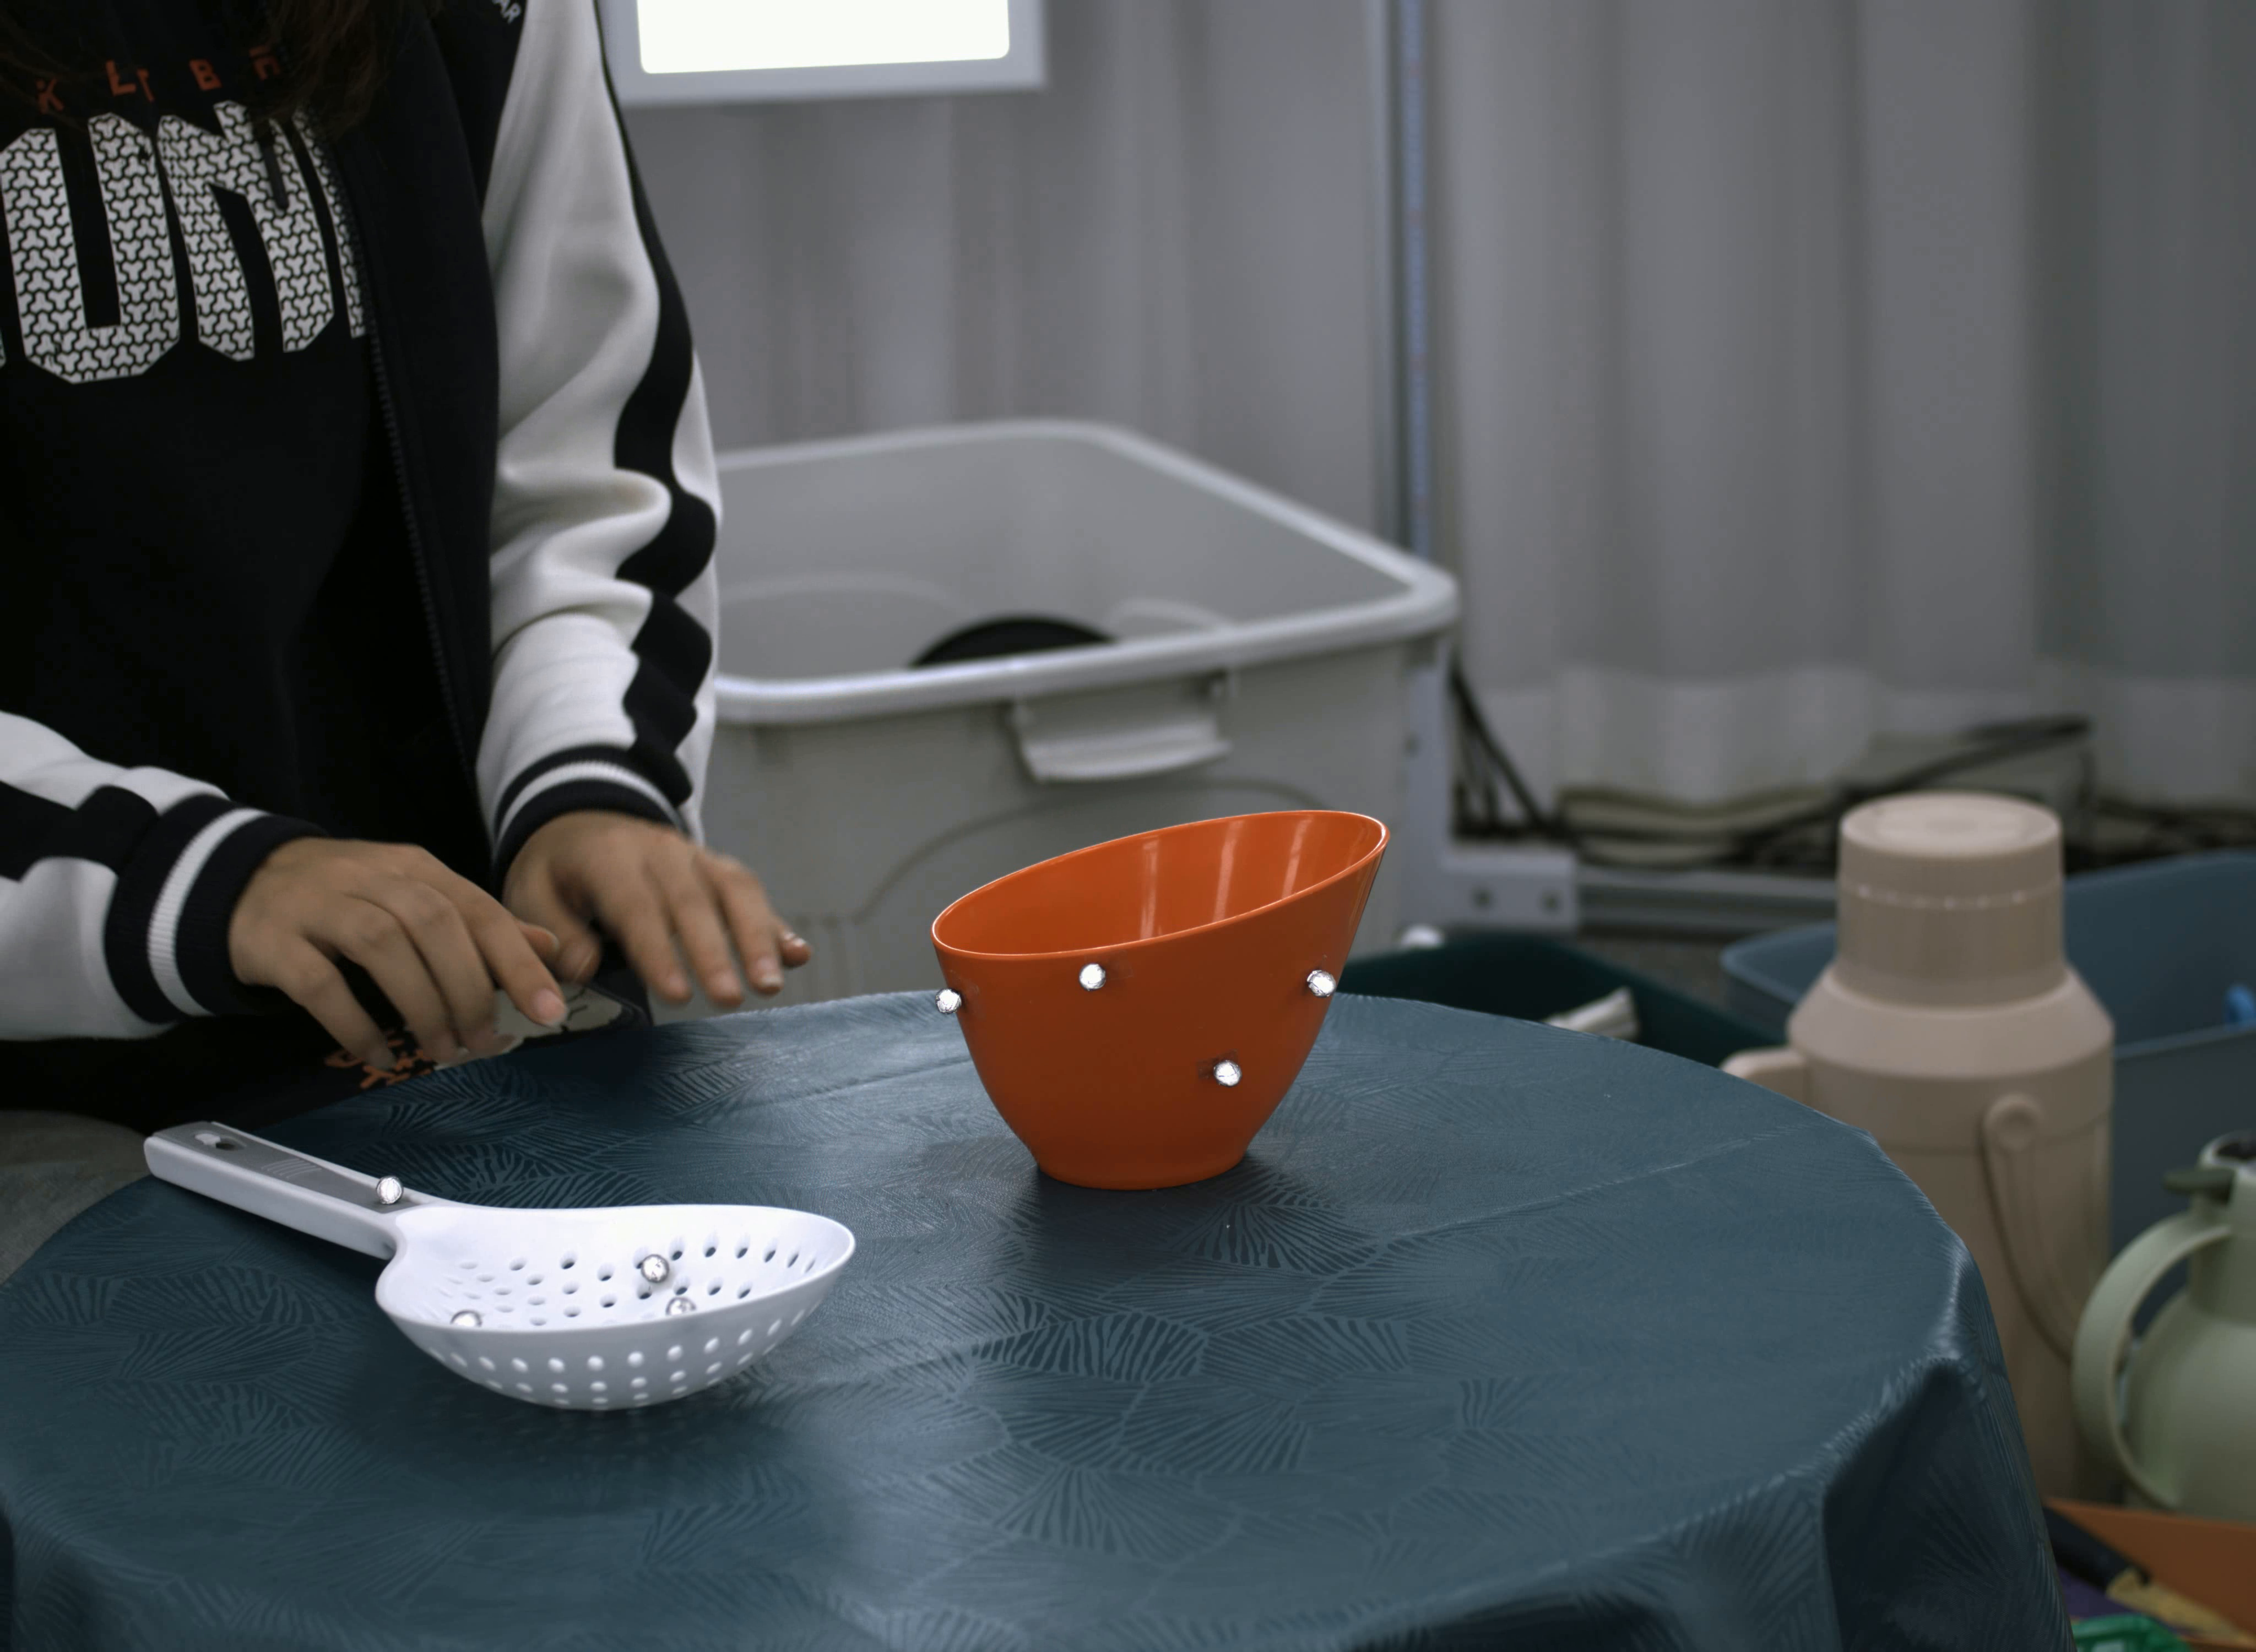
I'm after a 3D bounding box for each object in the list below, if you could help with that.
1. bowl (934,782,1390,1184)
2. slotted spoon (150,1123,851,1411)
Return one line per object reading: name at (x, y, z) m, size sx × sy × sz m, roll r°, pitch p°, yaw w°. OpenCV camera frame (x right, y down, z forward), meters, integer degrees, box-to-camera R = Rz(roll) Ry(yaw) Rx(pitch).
bowl at (0.015, 0.053, 1.728) m, size 0.147 × 0.104 × 0.149 m, roll -7°, pitch 20°, yaw 2°
slotted spoon at (-0.208, 0.122, 1.640) m, size 0.135 × 0.045 × 0.352 m, roll -11°, pitch 16°, yaw -34°
